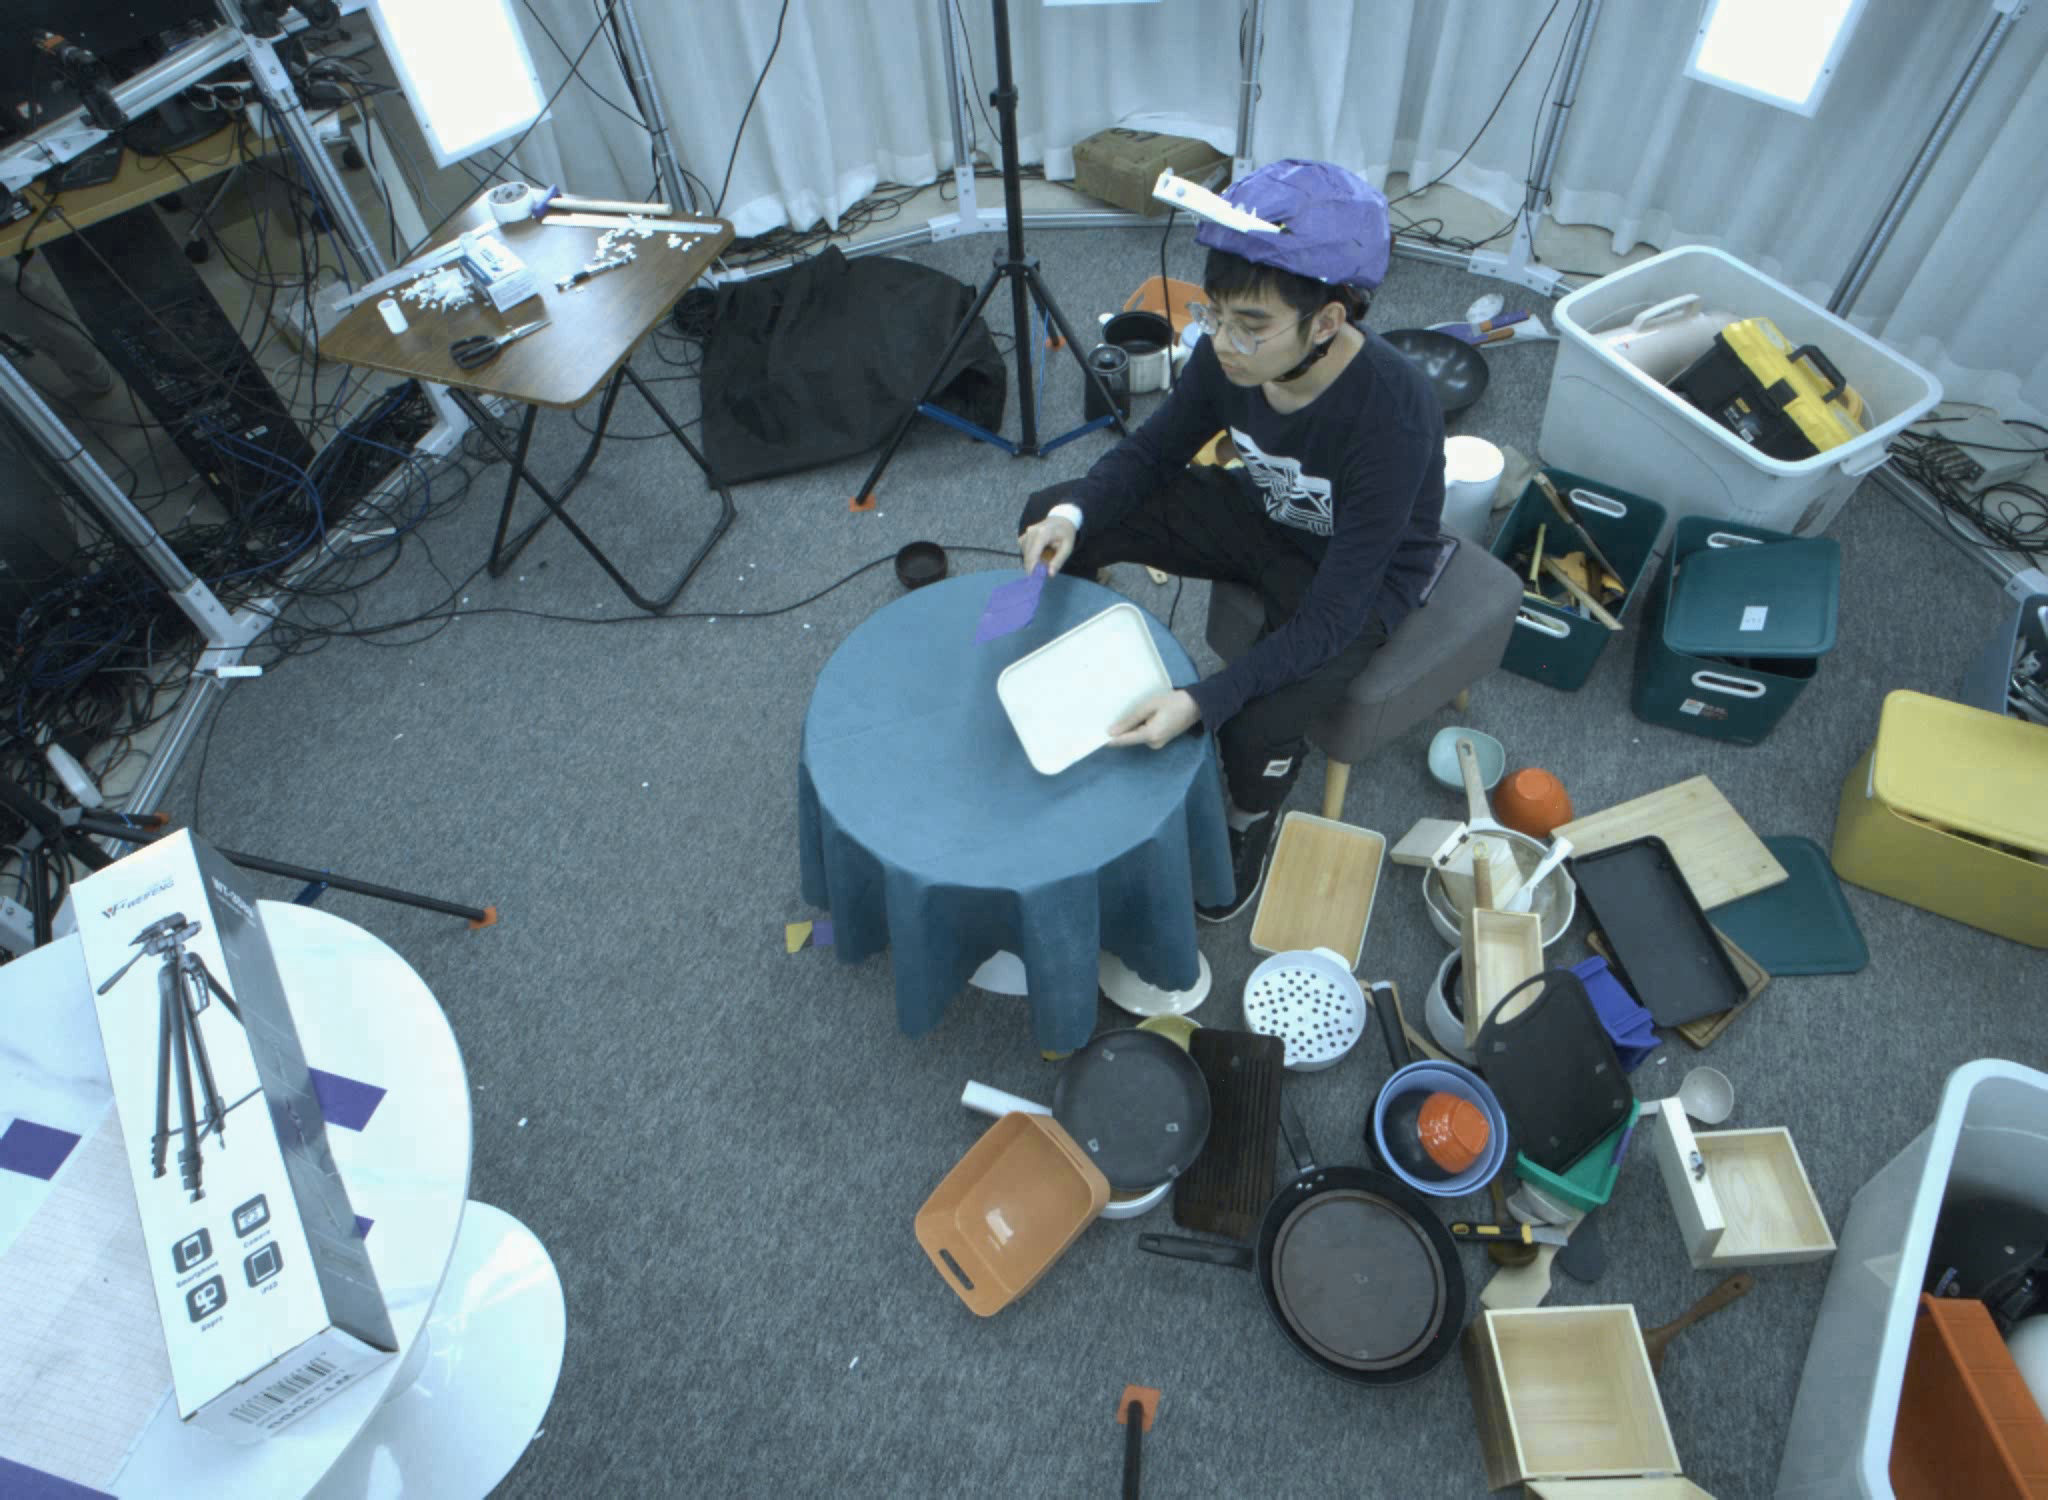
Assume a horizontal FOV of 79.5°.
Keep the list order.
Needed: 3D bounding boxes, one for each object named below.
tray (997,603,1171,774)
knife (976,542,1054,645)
[{"bbox_3d":[0.086,-0.087,1.727,0.241,0.173,0.017,-31,22,-16],"label":"tray"},{"bbox_3d":[-0.014,-0.235,1.813,0.103,0.032,0.314,-14,25,16],"label":"knife"}]
